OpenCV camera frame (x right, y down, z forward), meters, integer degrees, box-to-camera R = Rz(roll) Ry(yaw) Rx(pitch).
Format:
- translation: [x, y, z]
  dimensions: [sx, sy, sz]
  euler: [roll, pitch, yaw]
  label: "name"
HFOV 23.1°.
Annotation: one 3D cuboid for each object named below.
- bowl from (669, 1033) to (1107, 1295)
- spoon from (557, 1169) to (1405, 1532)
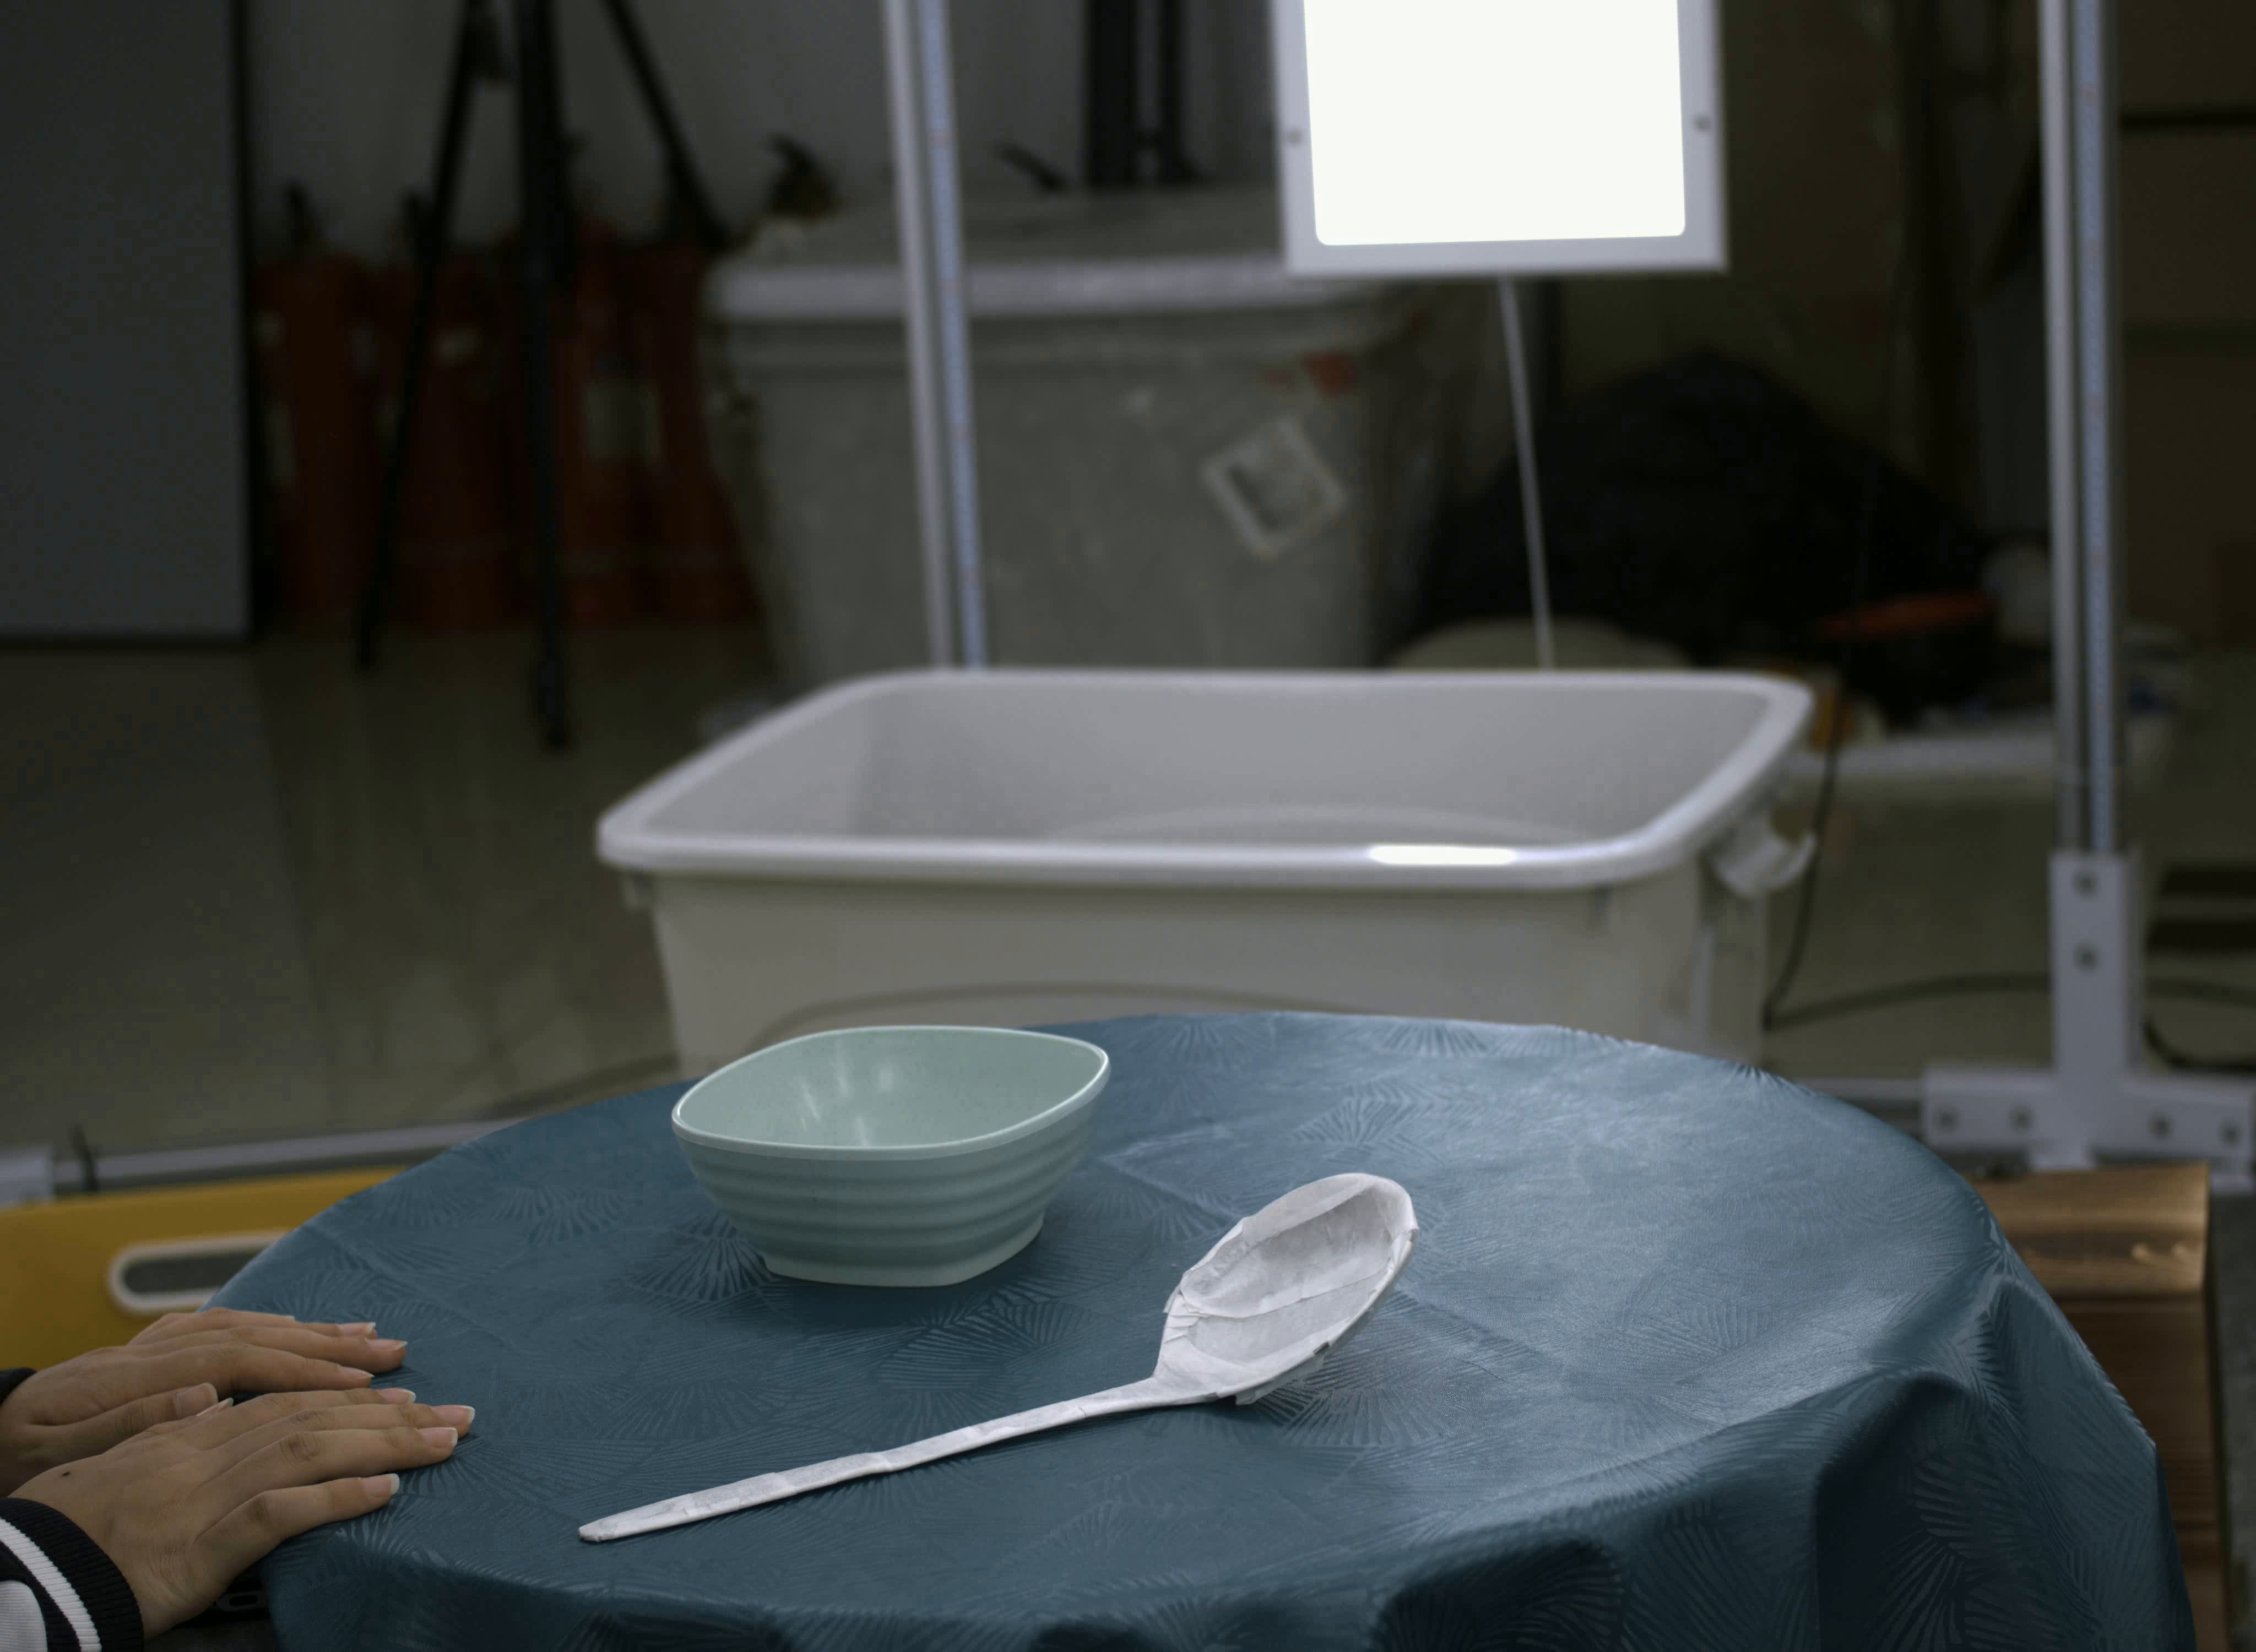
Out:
- translation: [-0.078, 0.117, 1.856]
  dimensions: [0.151, 0.059, 0.151]
  euler: [-5, 14, 0]
  label: "bowl"
- translation: [-0.044, 0.157, 1.671]
  dimensions: [0.272, 0.059, 0.102]
  euler: [-10, 10, -19]
  label: "spoon"
